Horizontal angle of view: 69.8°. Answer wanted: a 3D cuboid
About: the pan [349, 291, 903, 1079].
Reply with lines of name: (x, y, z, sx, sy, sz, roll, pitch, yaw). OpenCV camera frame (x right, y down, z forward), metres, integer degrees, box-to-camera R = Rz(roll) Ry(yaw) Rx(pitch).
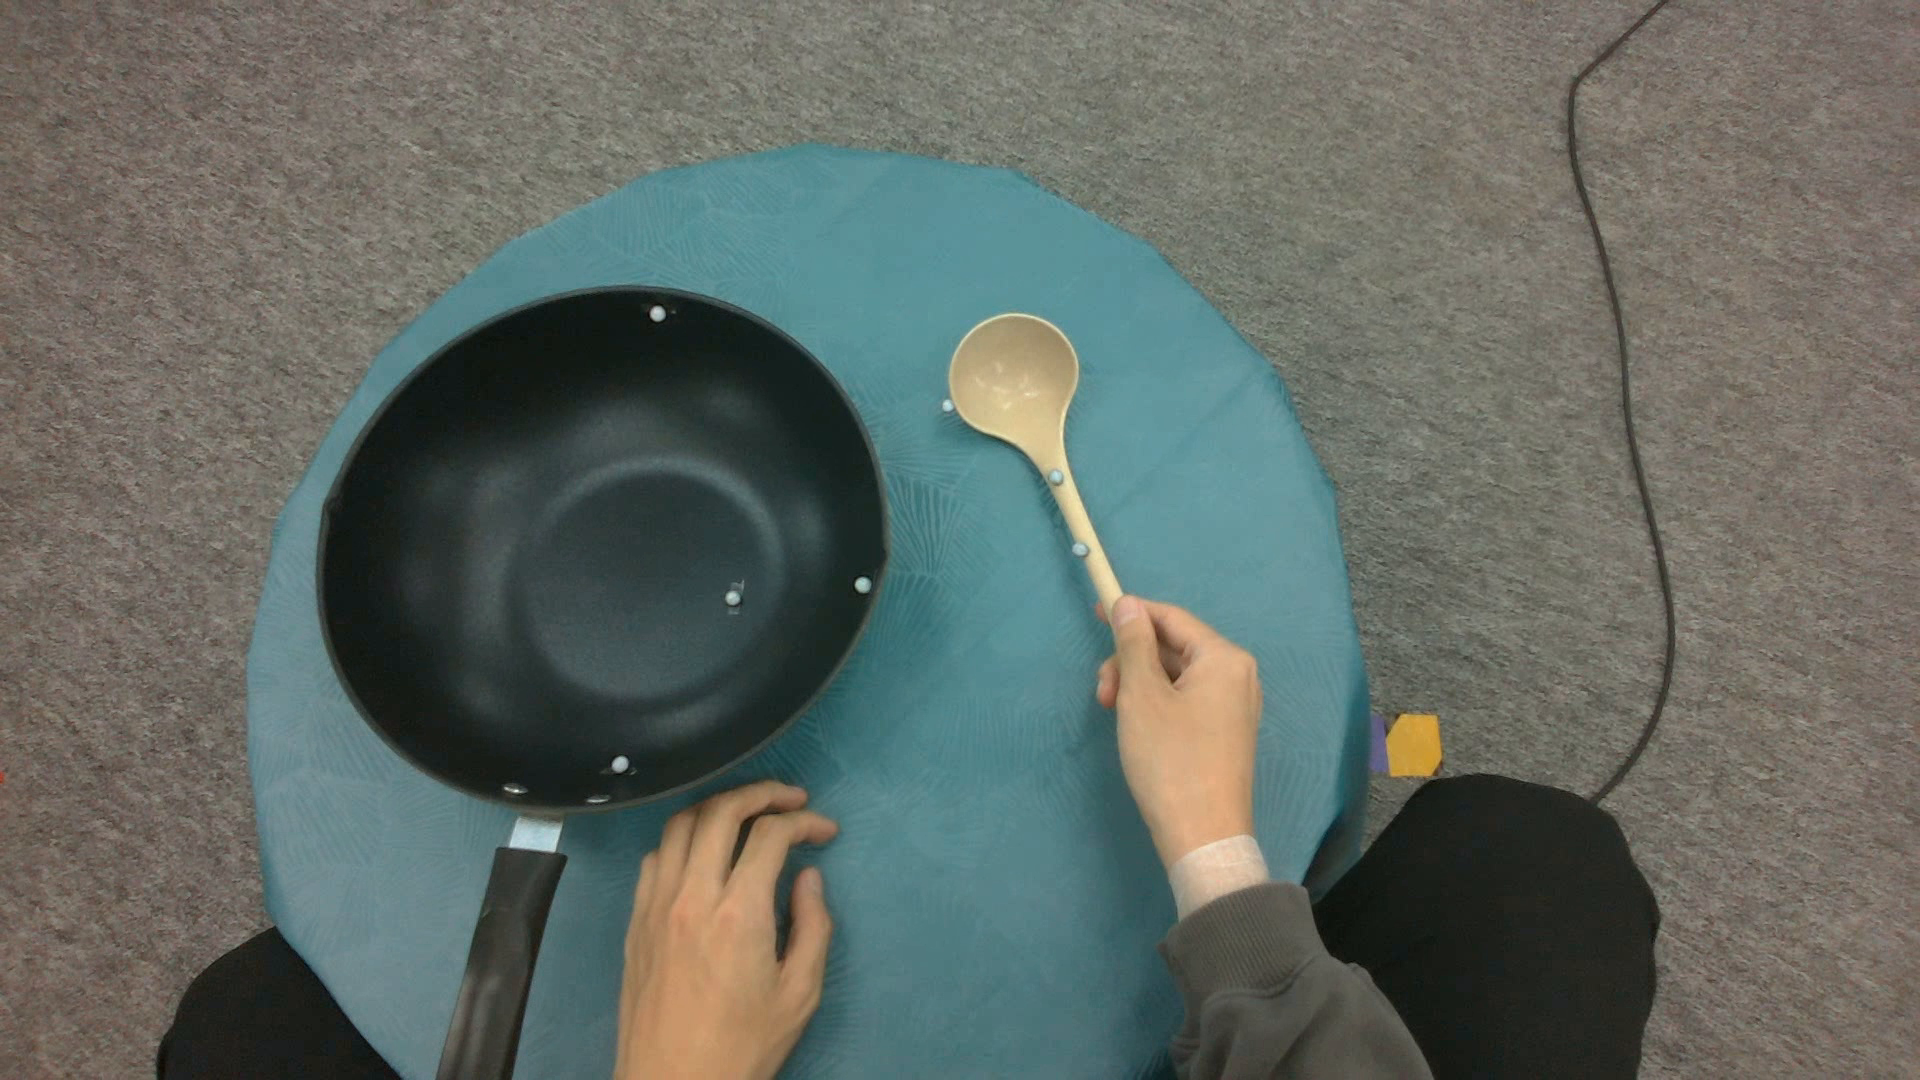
pan: (-0.181, 0.095, 0.702, 0.288, 0.086, 0.465, 6, 70, 5)

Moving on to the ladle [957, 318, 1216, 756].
ladle: (0.070, -0.009, 0.720, 0.072, 0.072, 0.255, -24, 61, -1)
